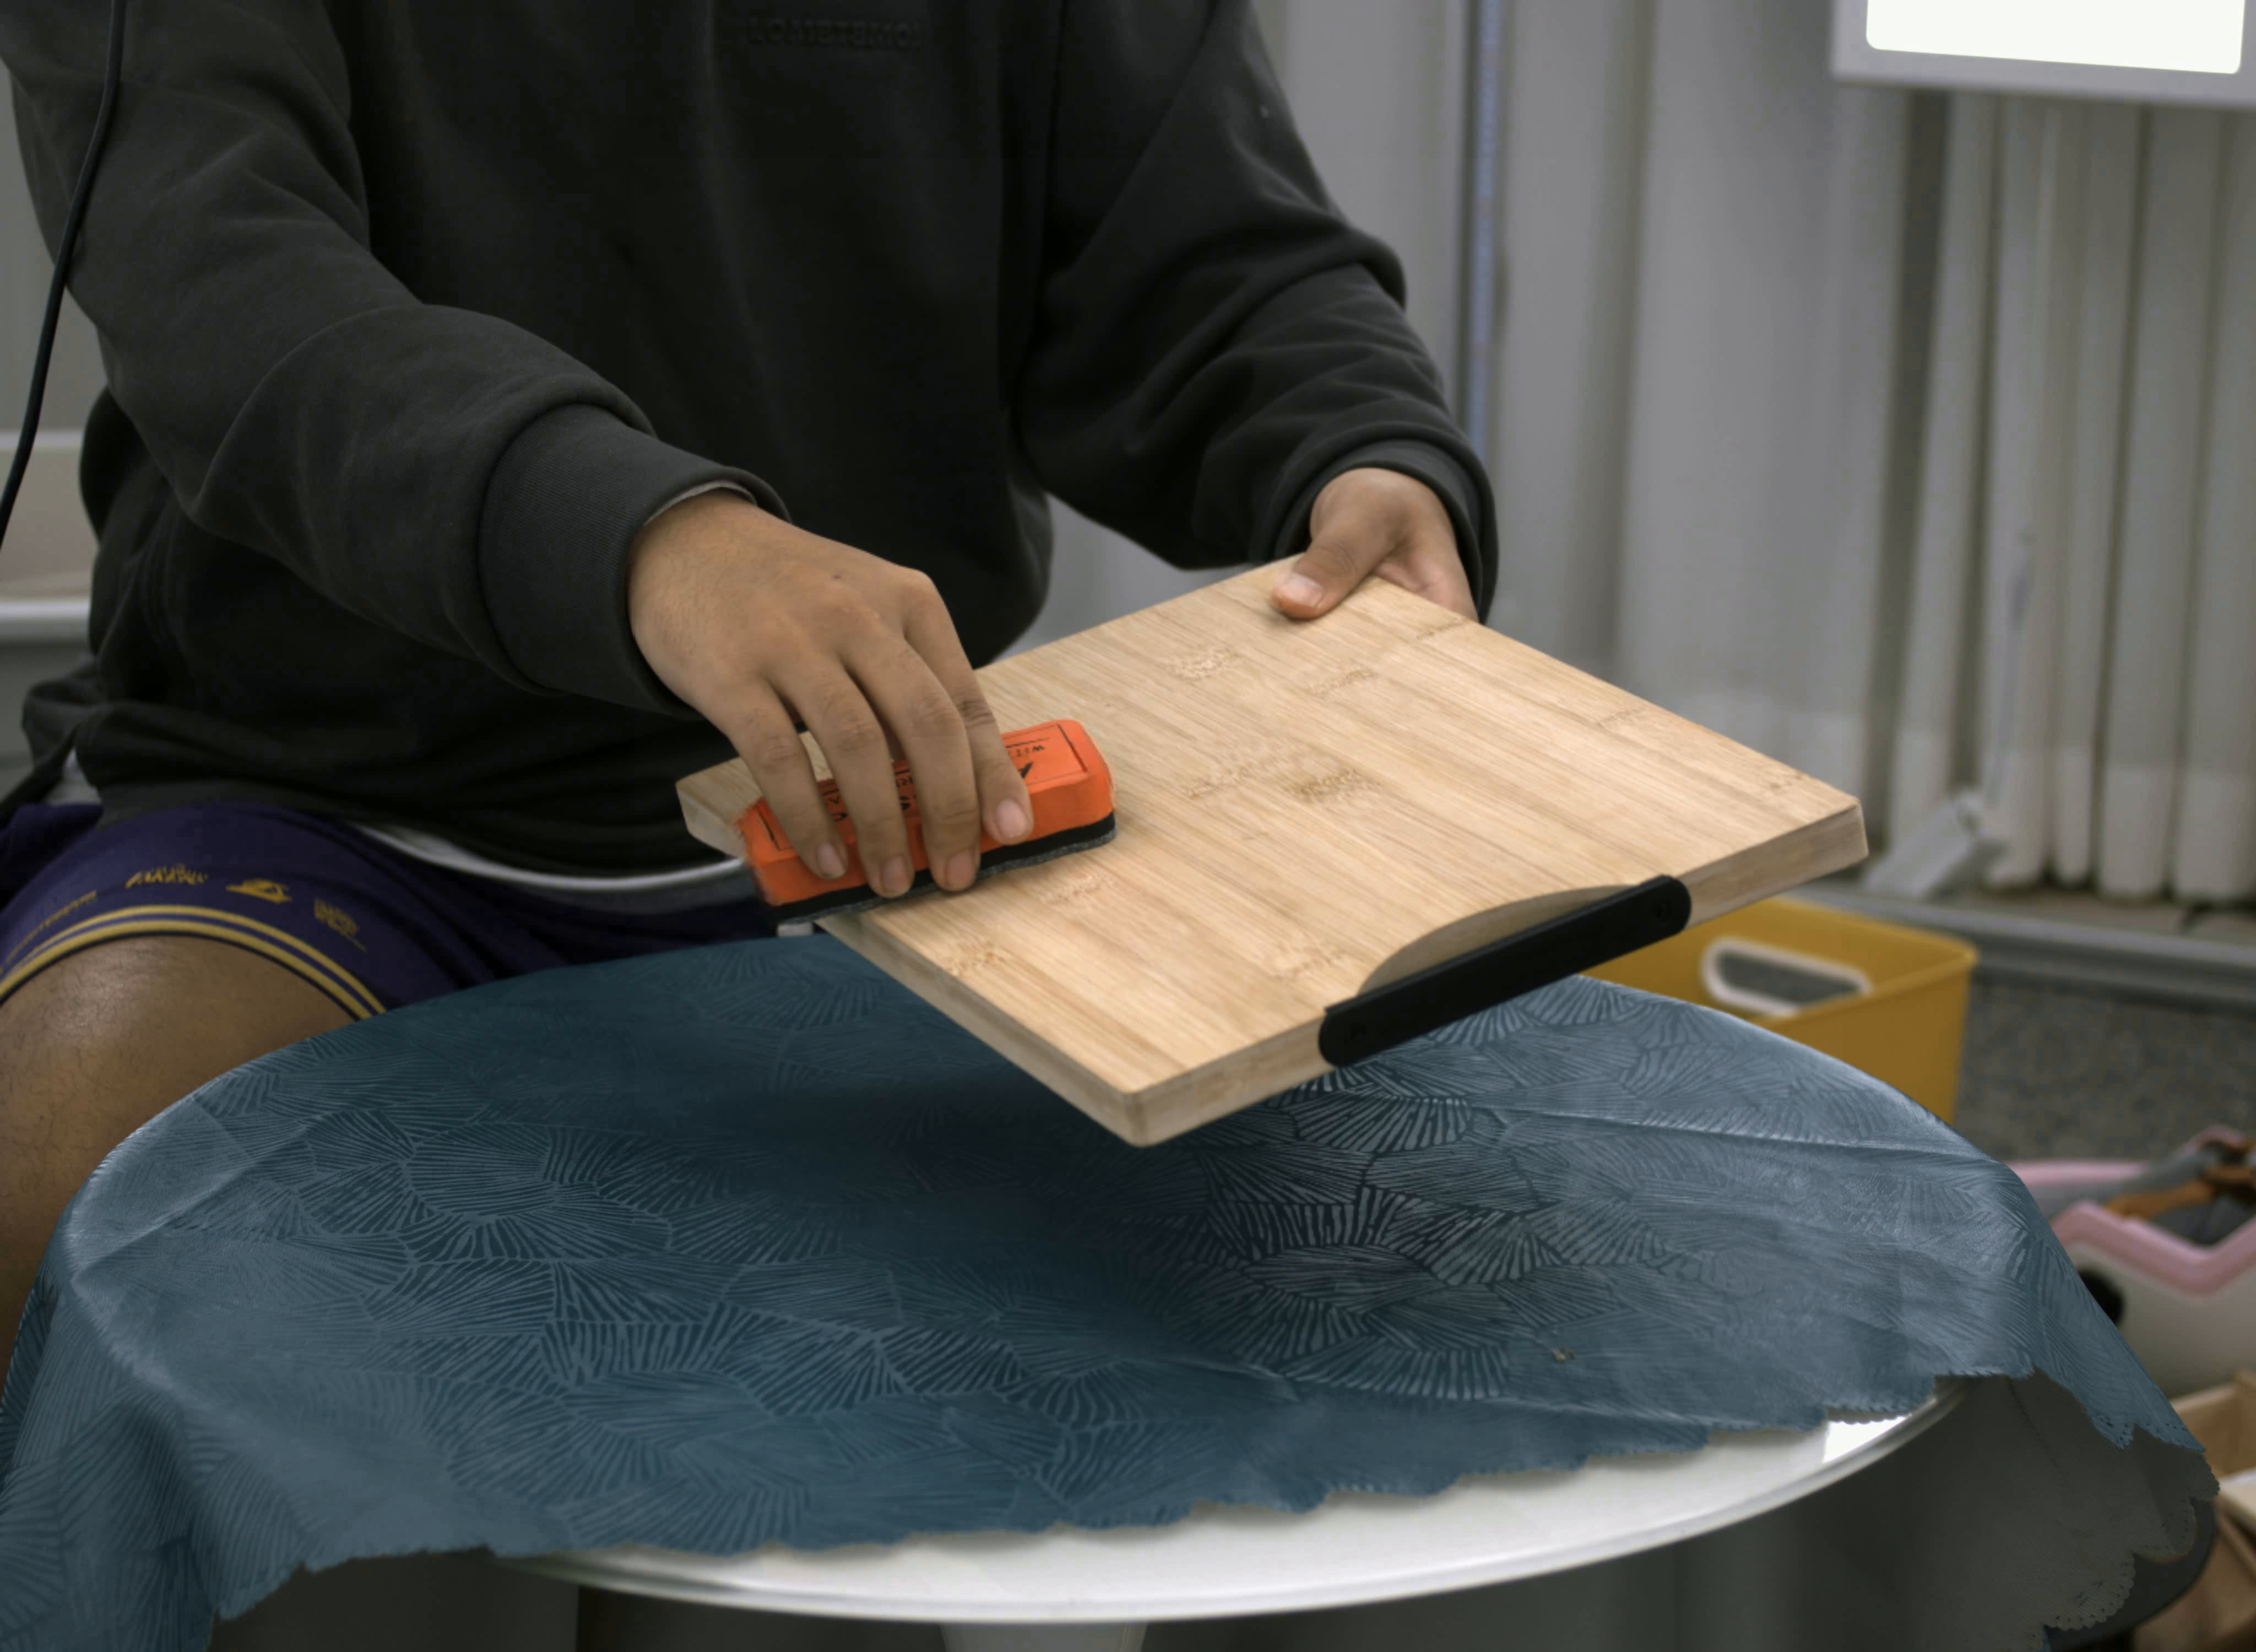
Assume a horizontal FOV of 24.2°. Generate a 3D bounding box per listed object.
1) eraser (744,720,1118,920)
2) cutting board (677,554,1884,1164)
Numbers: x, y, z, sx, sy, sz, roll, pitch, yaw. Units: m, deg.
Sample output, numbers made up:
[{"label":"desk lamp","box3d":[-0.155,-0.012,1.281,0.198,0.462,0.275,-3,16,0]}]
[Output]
[{"label":"eraser","box3d":[-0.060,-0.002,1.587,0.108,0.023,0.058,-14,21,-7]},{"label":"cutting board","box3d":[0.035,-0.001,1.590,0.251,0.024,0.344,-21,24,-21]}]
